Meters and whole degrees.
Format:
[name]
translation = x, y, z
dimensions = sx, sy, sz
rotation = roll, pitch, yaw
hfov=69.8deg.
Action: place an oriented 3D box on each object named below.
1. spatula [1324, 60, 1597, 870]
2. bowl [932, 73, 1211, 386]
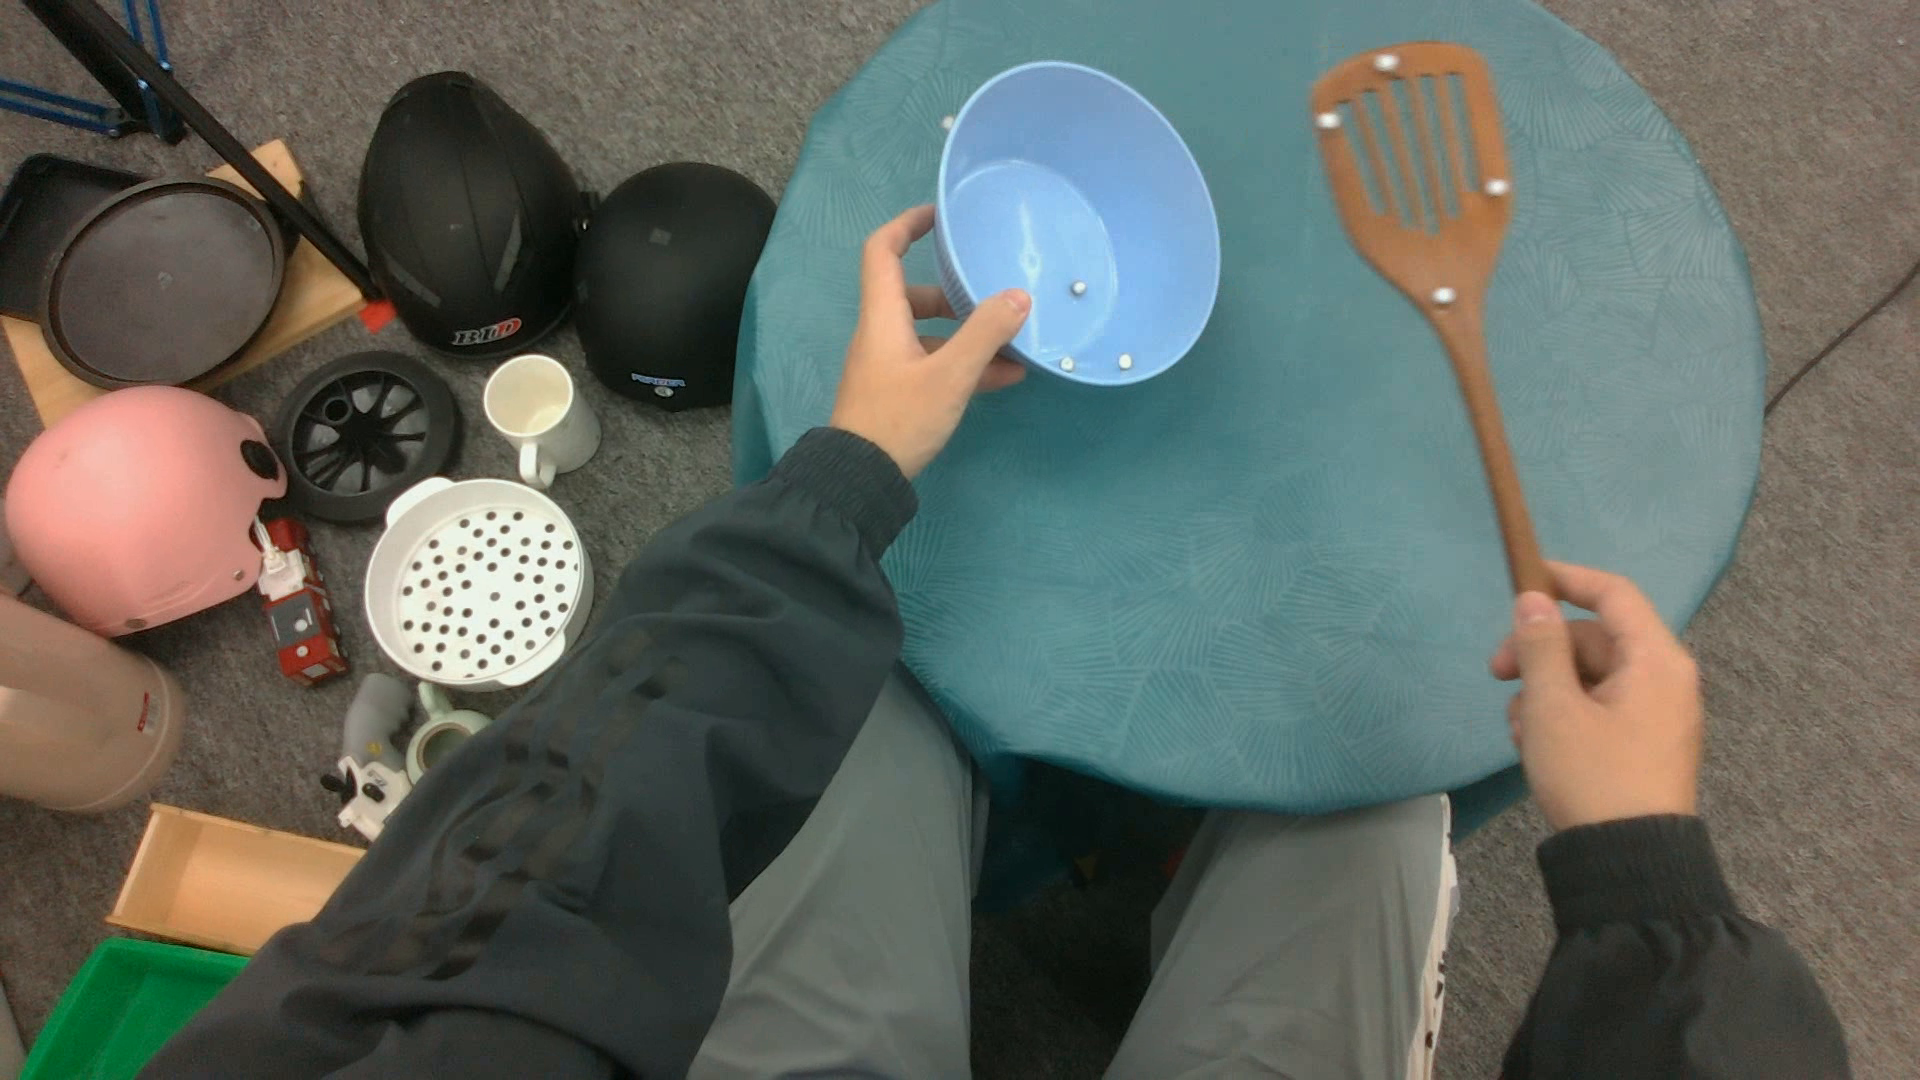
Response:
[spatula]
translation = 0.247, -0.040, 0.648
dimensions = 0.085, 0.024, 0.387
rotation = -11, 81, 12
[bowl]
translation = 0.052, -0.162, 0.765
dimensions = 0.176, 0.070, 0.176
rotation = 7, 76, -29
